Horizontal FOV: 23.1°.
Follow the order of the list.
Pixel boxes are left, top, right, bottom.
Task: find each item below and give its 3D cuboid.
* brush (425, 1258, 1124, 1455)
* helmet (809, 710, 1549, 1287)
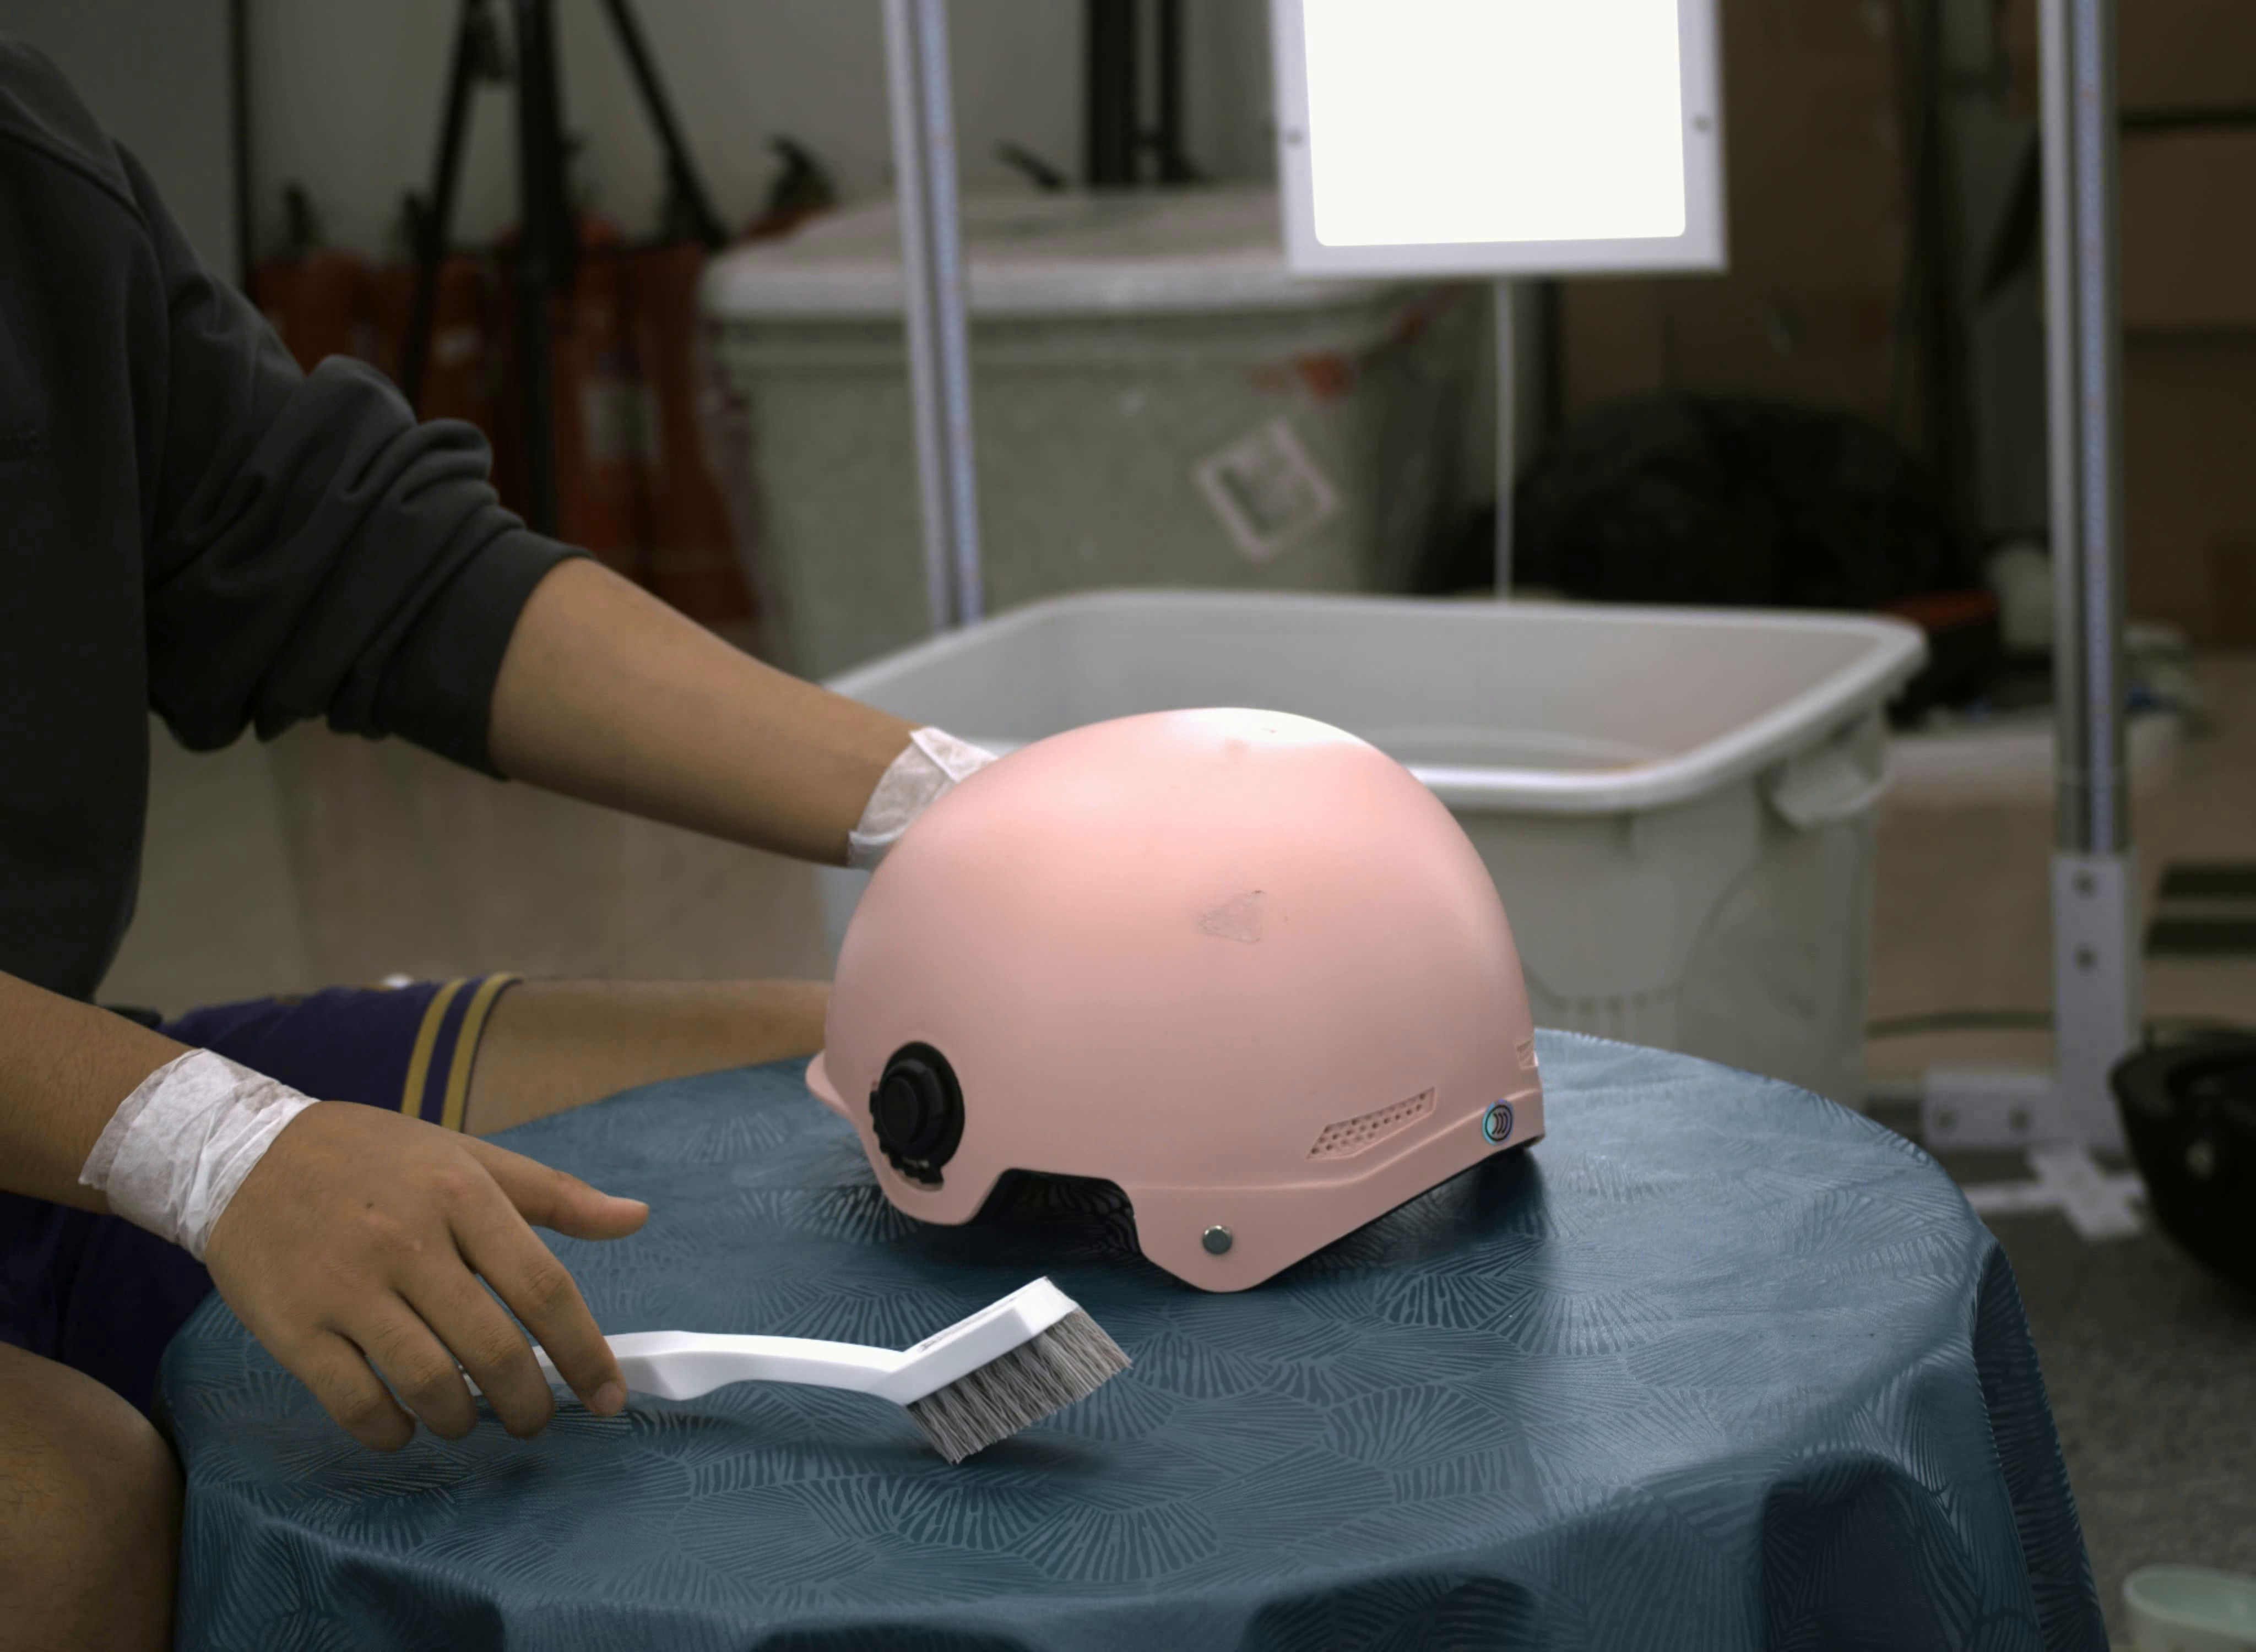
[{"bbox_3d":[-0.111,0.175,1.692,0.248,0.050,0.033,-13,12,31],"label":"brush"},{"bbox_3d":[0.013,0.041,1.878,0.271,0.159,0.228,10,21,37],"label":"helmet"}]
